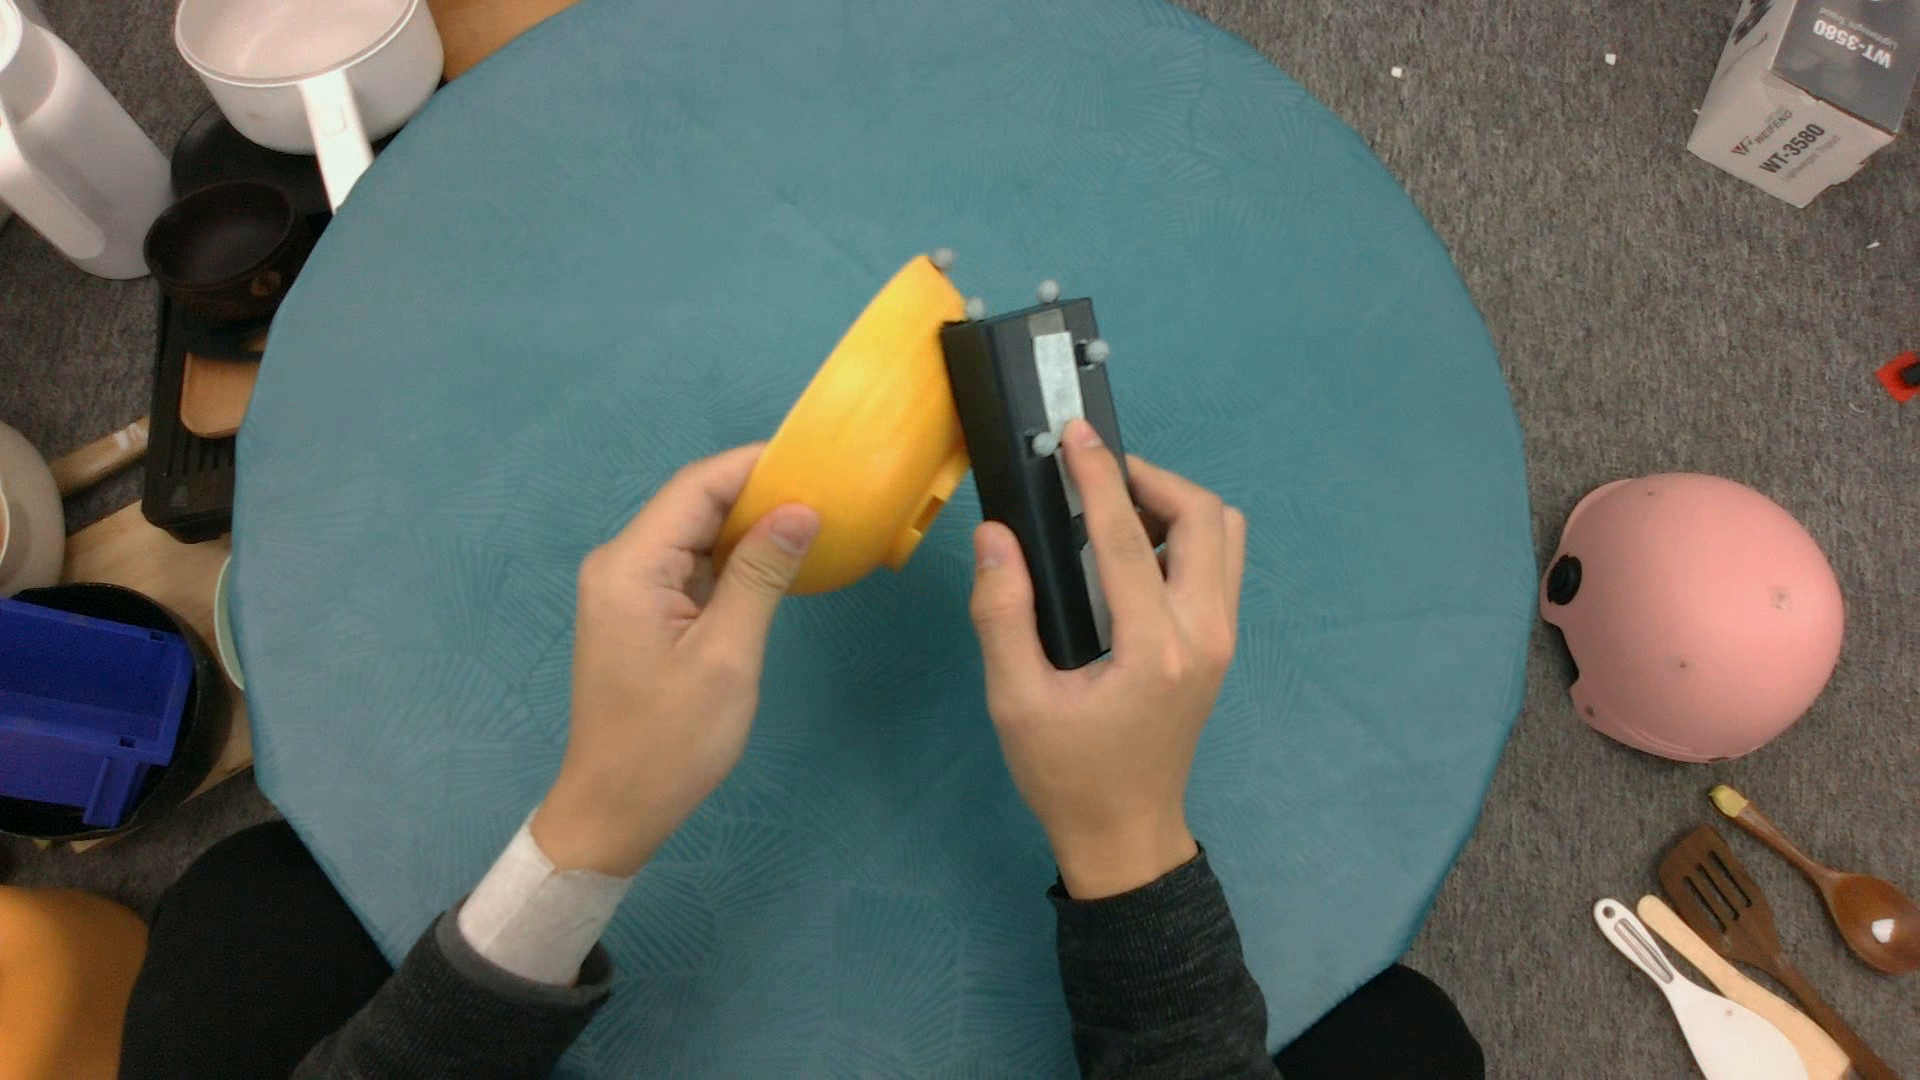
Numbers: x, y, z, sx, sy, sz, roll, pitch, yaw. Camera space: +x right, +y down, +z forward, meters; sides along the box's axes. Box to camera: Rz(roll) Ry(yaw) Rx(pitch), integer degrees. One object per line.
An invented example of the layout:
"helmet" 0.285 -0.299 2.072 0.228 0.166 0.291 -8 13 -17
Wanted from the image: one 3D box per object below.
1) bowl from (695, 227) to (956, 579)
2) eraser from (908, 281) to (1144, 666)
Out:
"bowl" -0.037 -0.039 0.516 0.060 0.145 0.146 30 72 -3
"eraser" 0.024 -0.023 0.482 0.054 0.030 0.125 -24 103 -33
